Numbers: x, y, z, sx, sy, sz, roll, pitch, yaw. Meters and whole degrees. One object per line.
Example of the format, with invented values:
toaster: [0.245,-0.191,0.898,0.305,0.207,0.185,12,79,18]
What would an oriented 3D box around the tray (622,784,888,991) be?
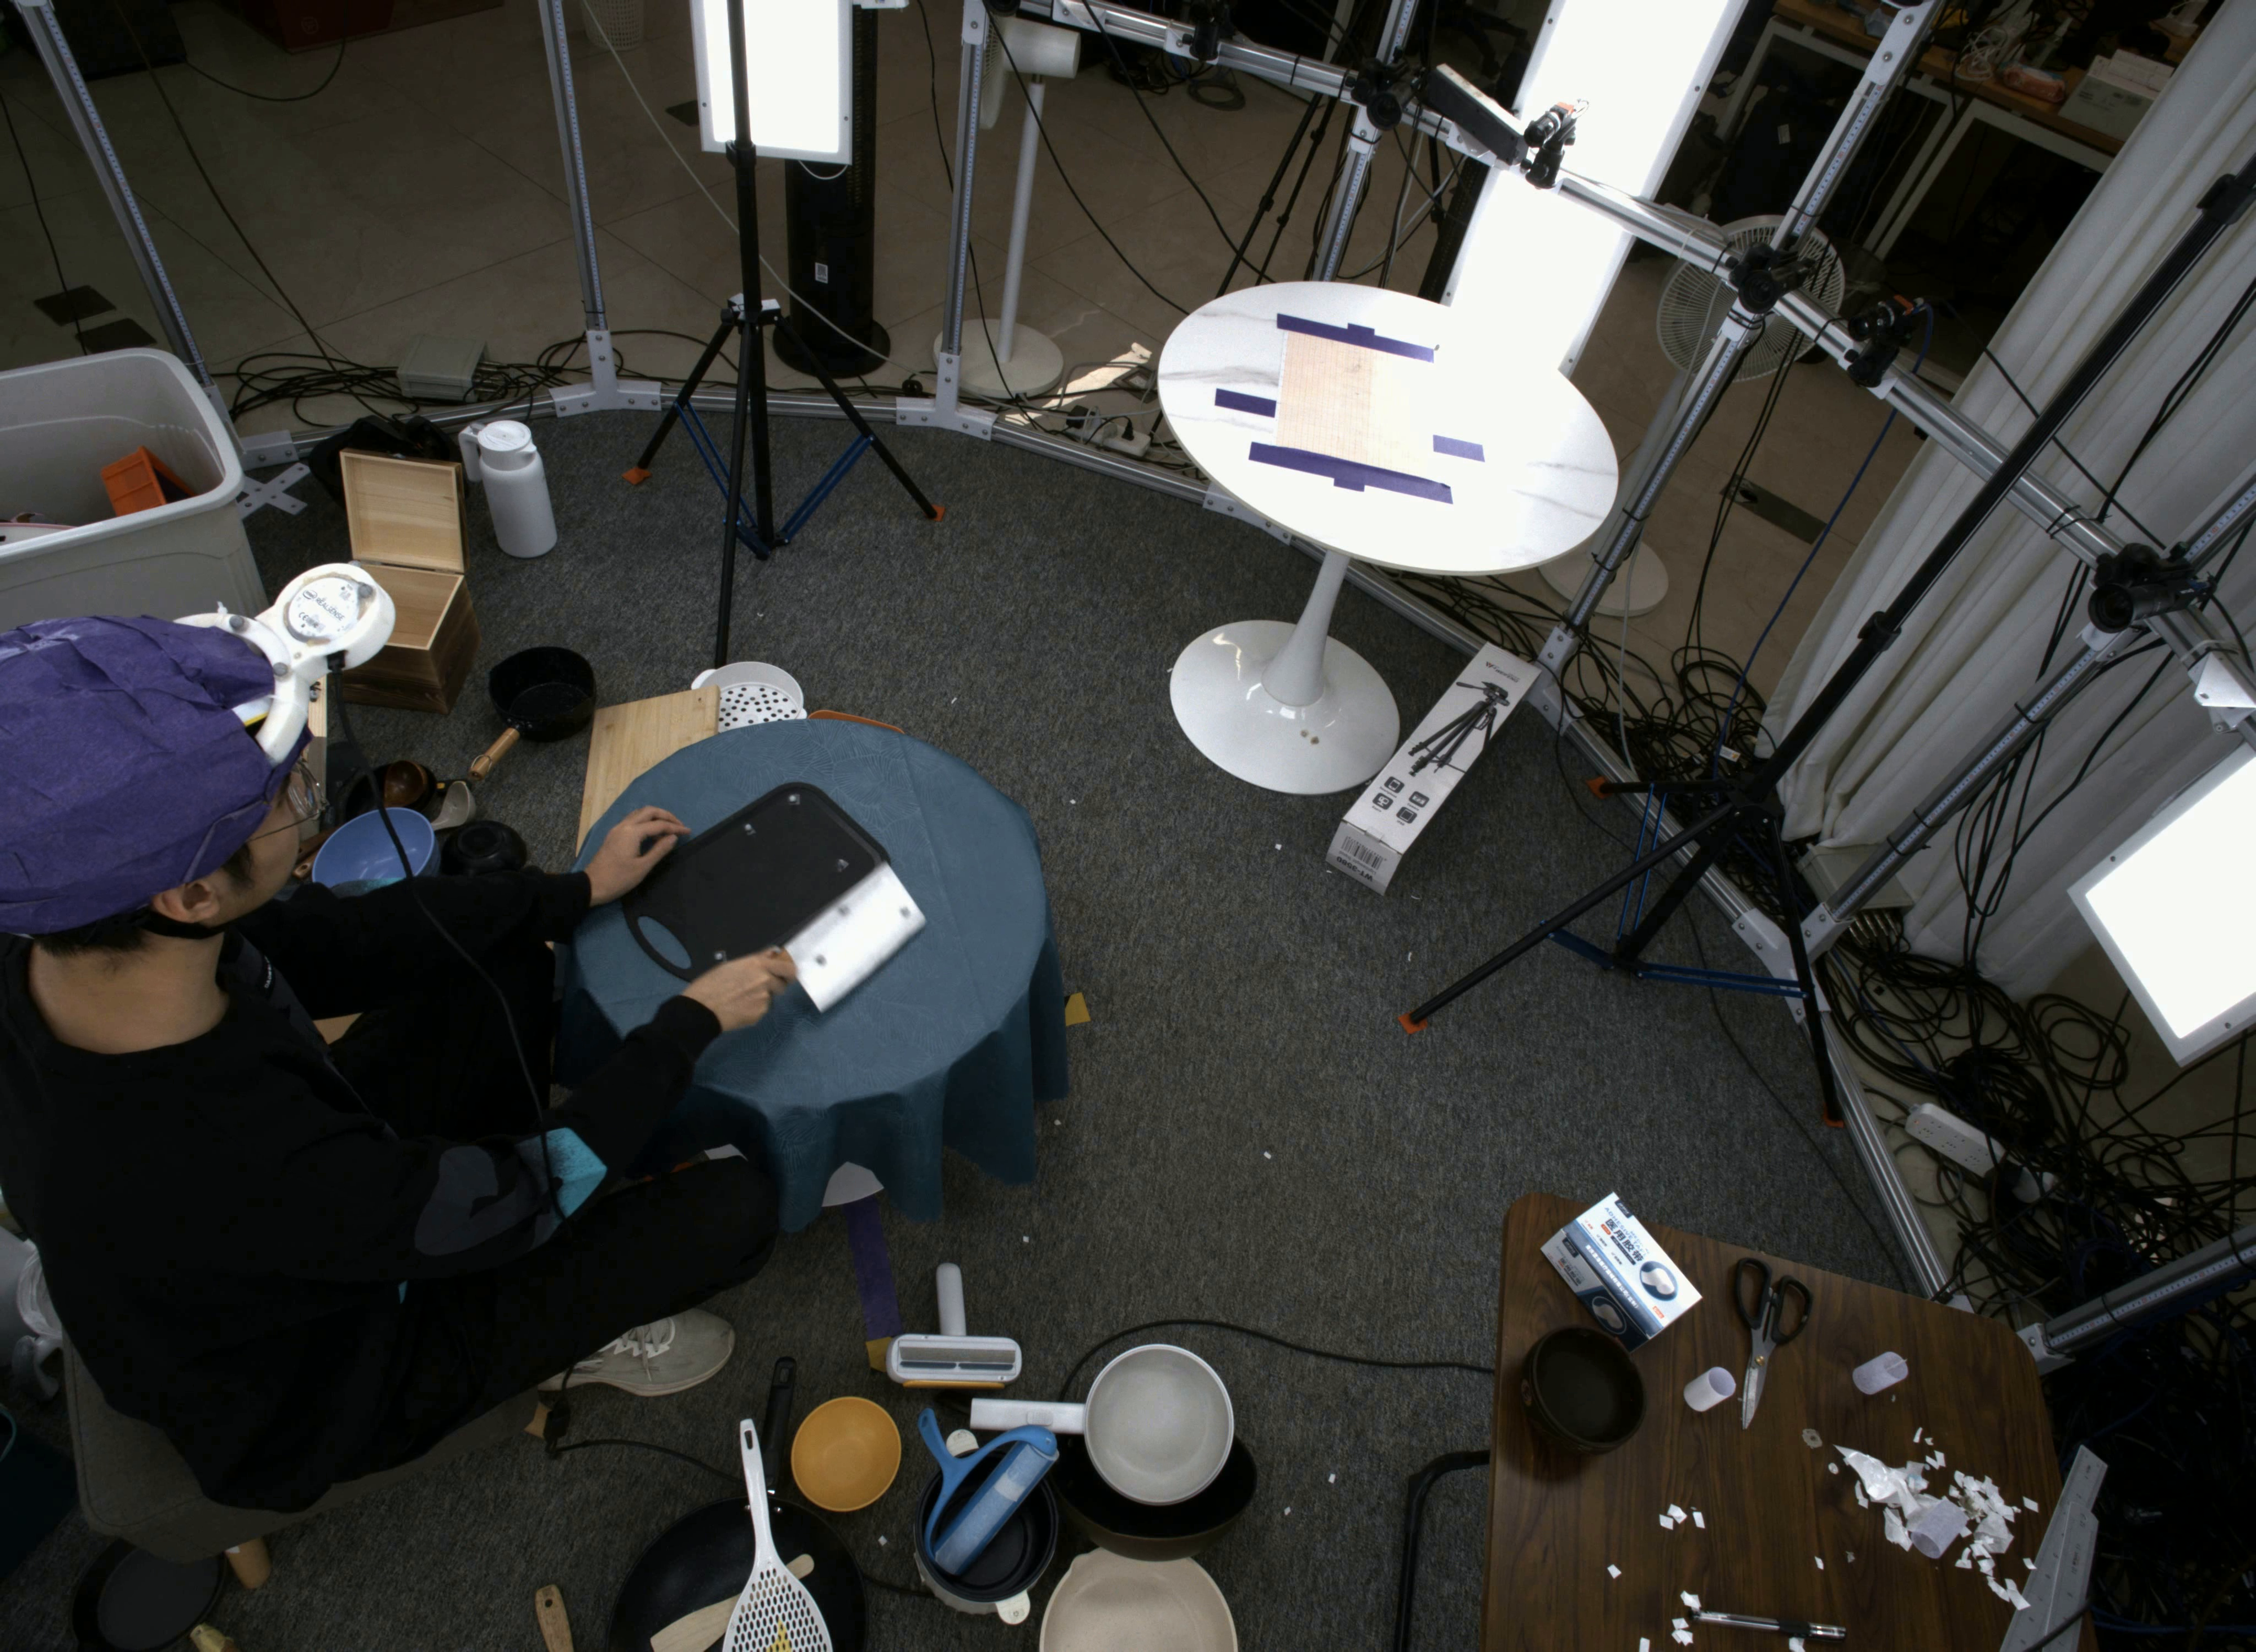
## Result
tray: [-0.476,0.072,1.641,0.206,0.010,0.326,41,54,16]

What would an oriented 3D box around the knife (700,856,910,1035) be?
knife: [-0.372,0.155,1.543,0.305,0.020,0.095,-45,113,-37]
